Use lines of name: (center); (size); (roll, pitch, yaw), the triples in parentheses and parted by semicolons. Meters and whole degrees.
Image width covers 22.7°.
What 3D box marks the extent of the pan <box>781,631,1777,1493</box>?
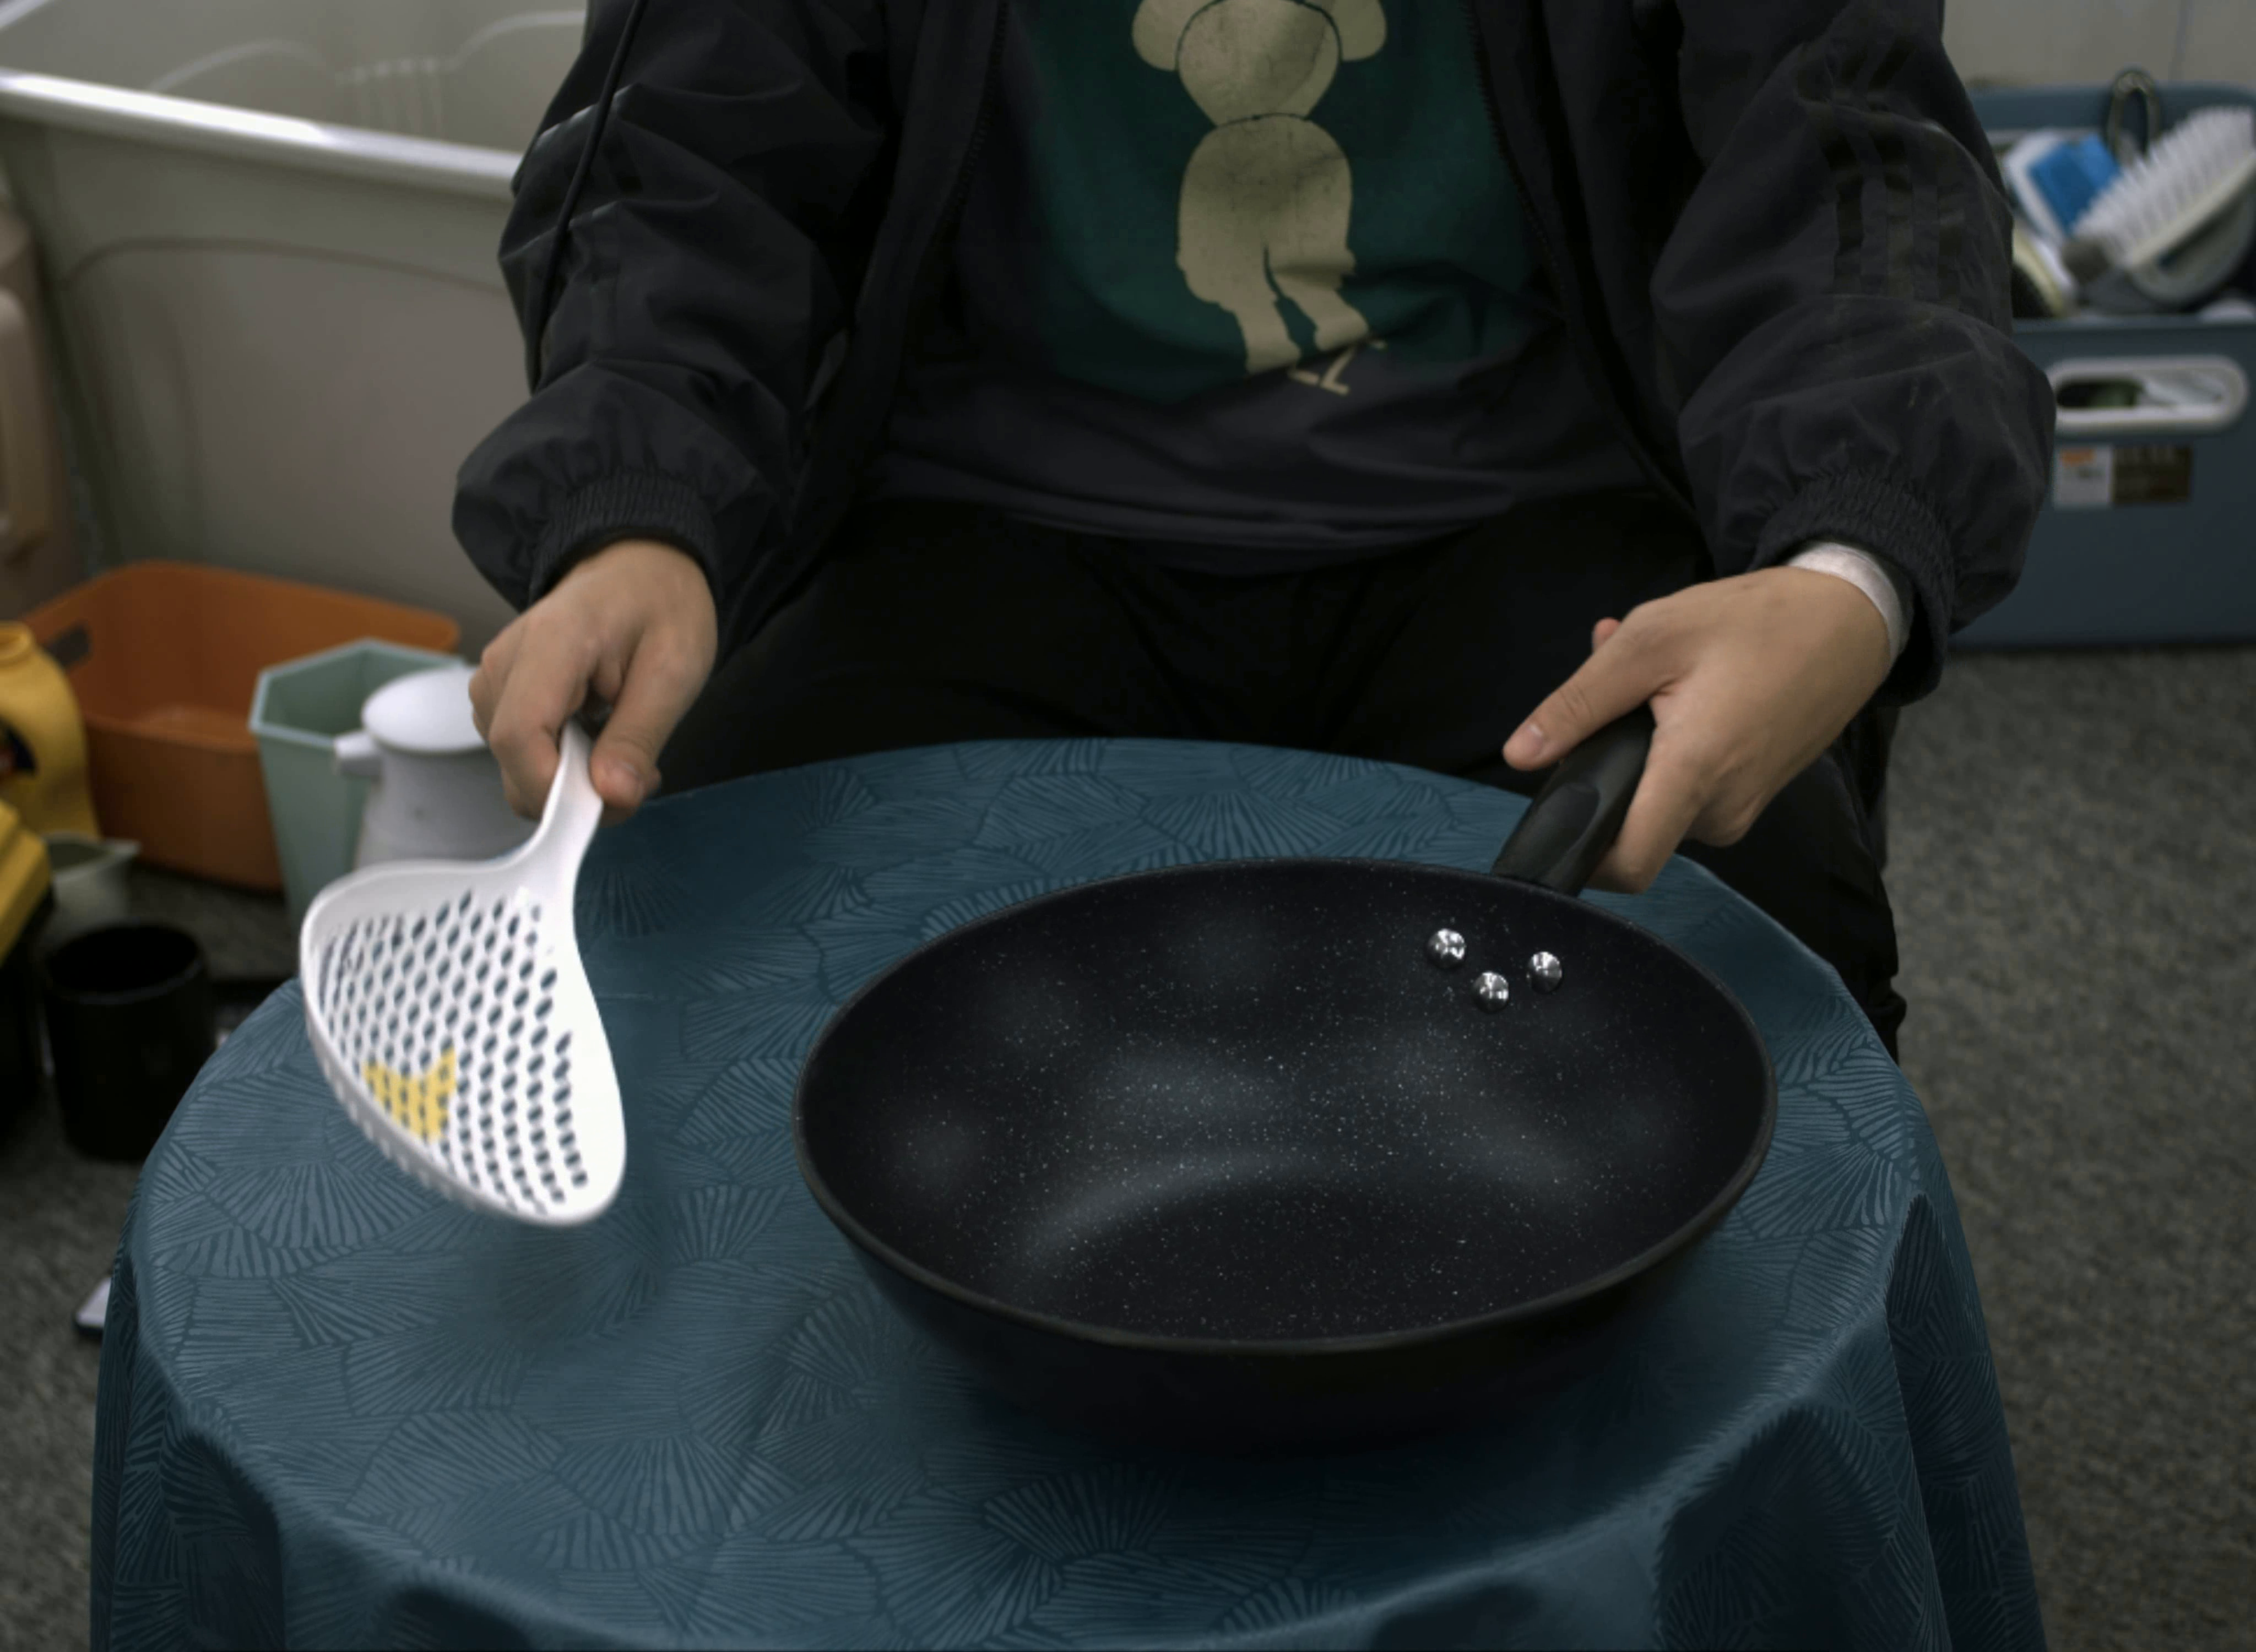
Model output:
pan: (0.090, 0.078, 1.822); (0.308, 0.110, 0.484); (14, 31, 27)

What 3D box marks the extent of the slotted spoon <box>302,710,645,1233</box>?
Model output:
slotted spoon: (-0.207, 0.034, 1.896); (0.136, 0.049, 0.354); (40, 26, -13)
